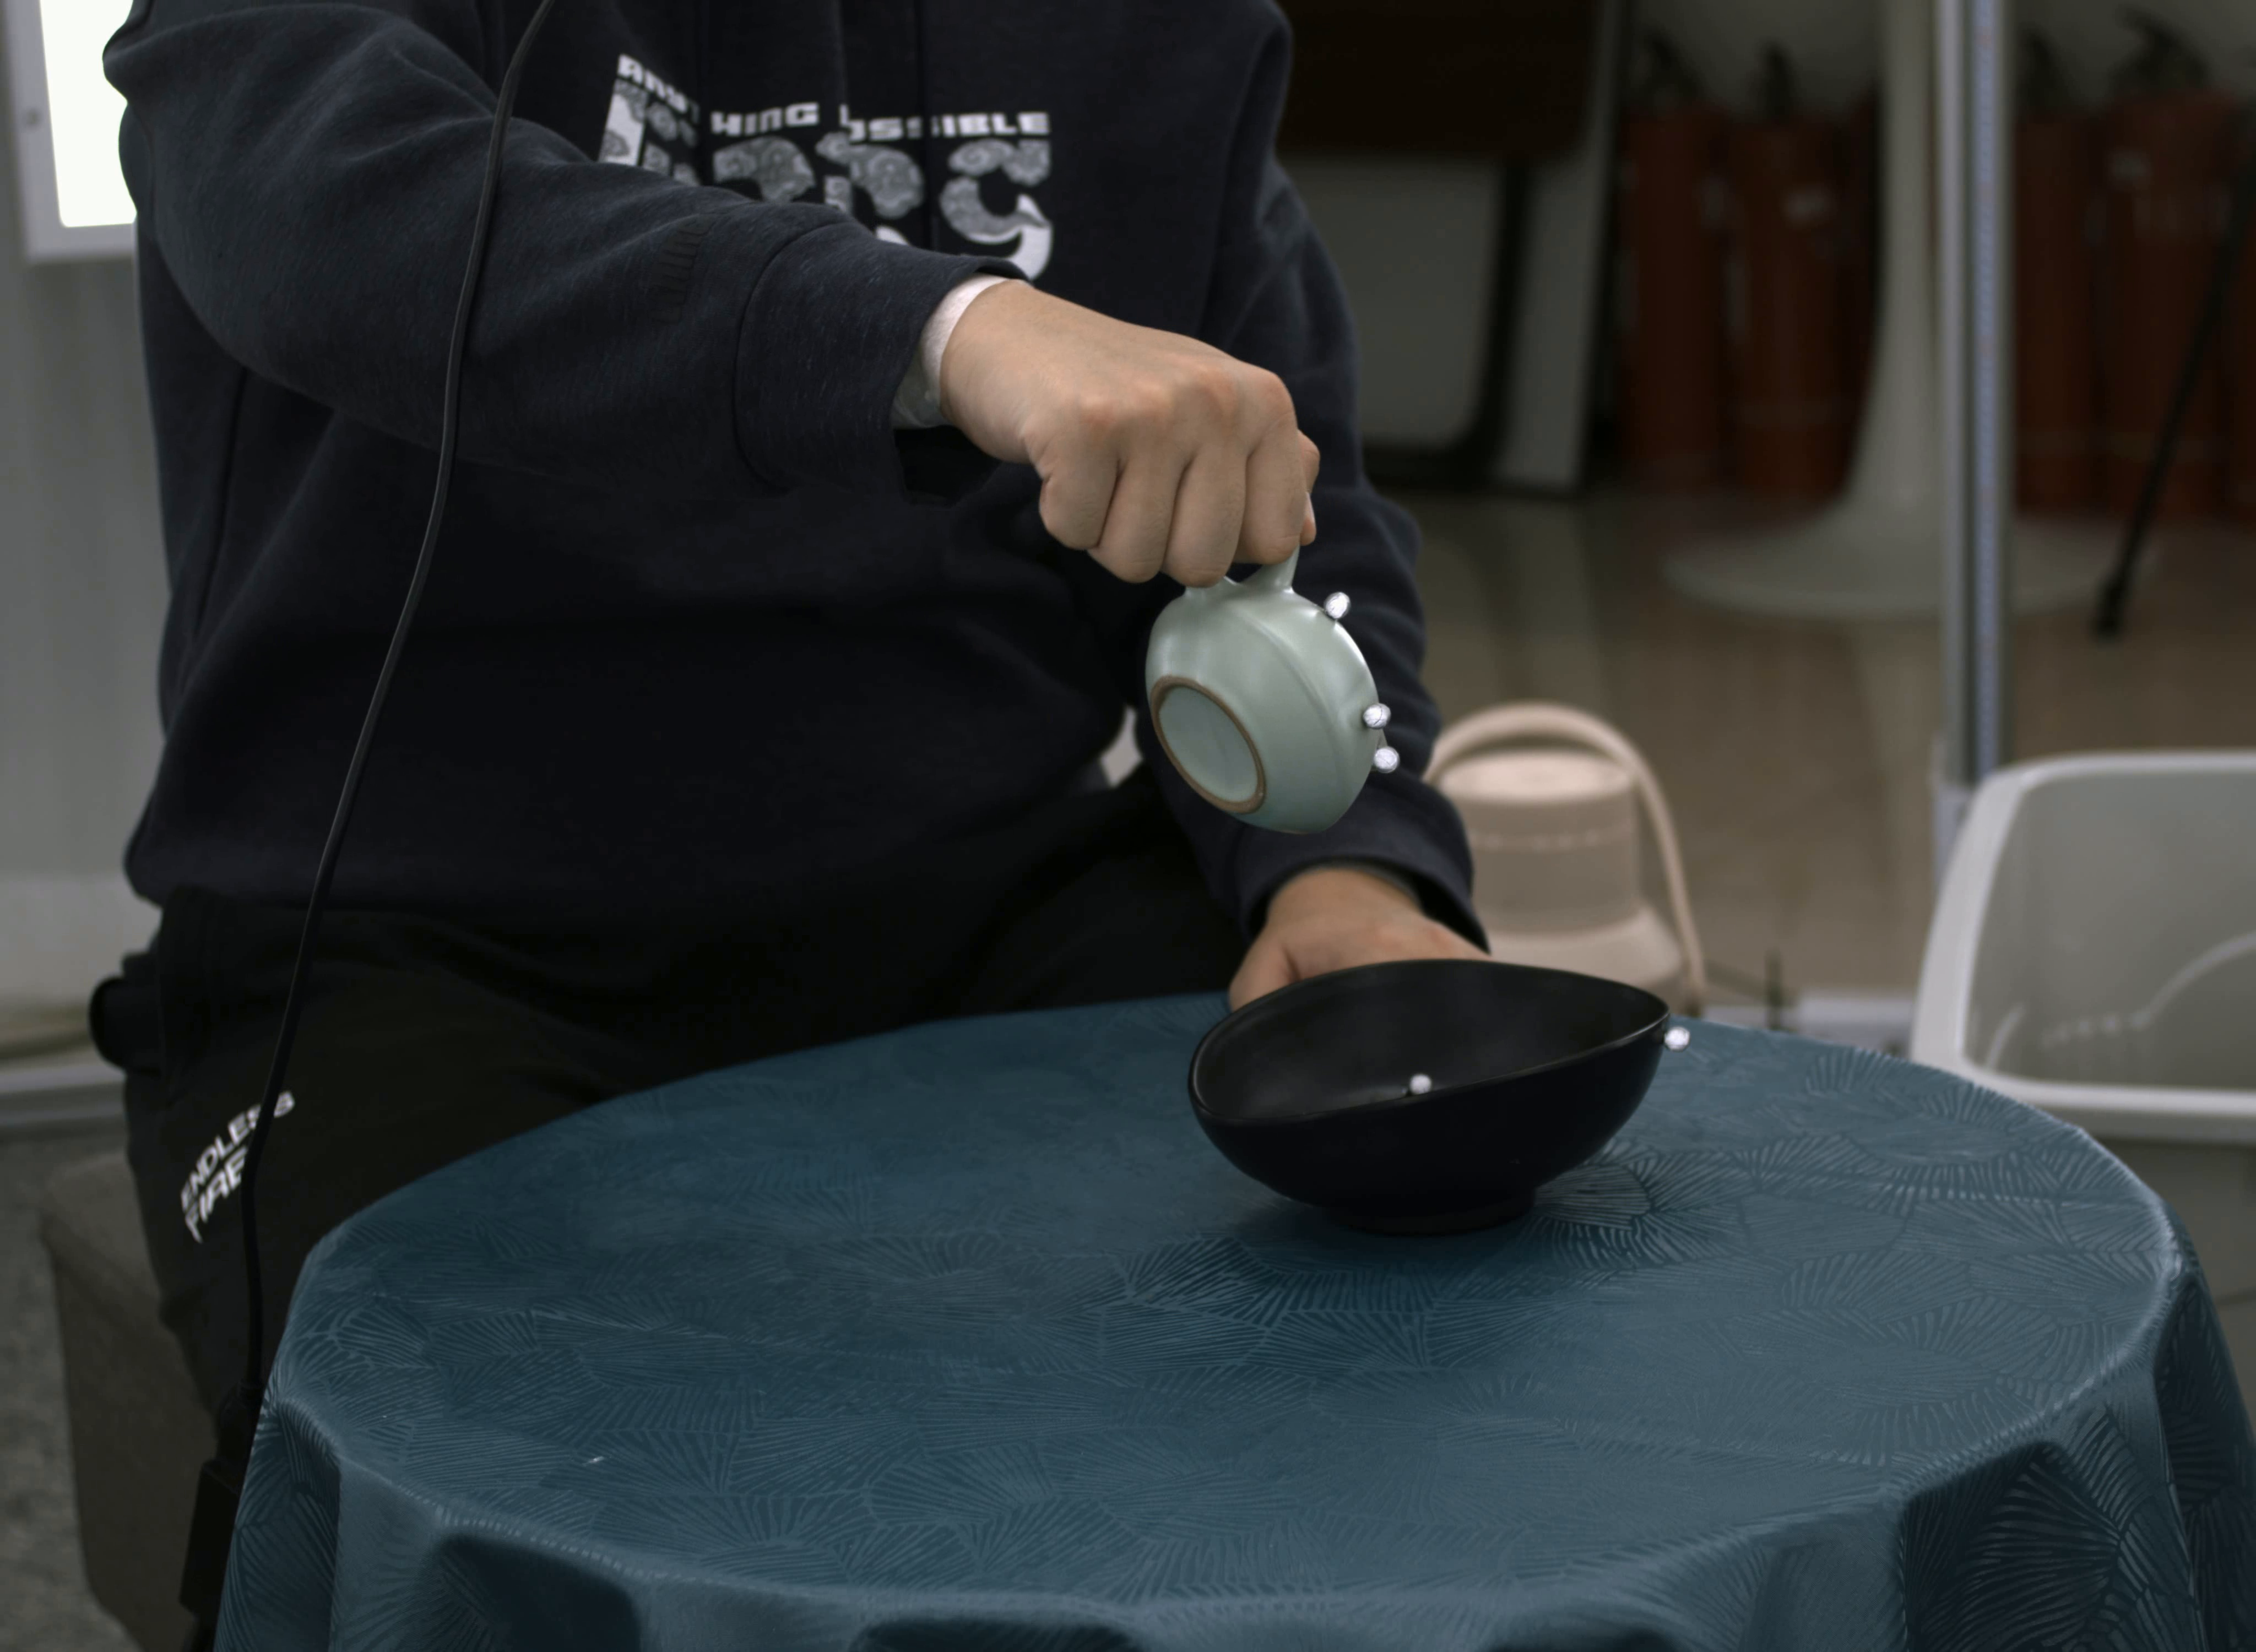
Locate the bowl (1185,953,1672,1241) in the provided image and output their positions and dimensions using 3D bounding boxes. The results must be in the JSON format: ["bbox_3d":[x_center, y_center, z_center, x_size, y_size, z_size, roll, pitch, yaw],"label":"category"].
[{"bbox_3d":[0.099,0.092,1.733,0.166,0.067,0.139,-14,16,-33],"label":"bowl"}]

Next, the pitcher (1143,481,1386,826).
[{"bbox_3d":[0.040,-0.052,1.655,0.059,0.108,0.087,-38,28,-29],"label":"pitcher"}]
